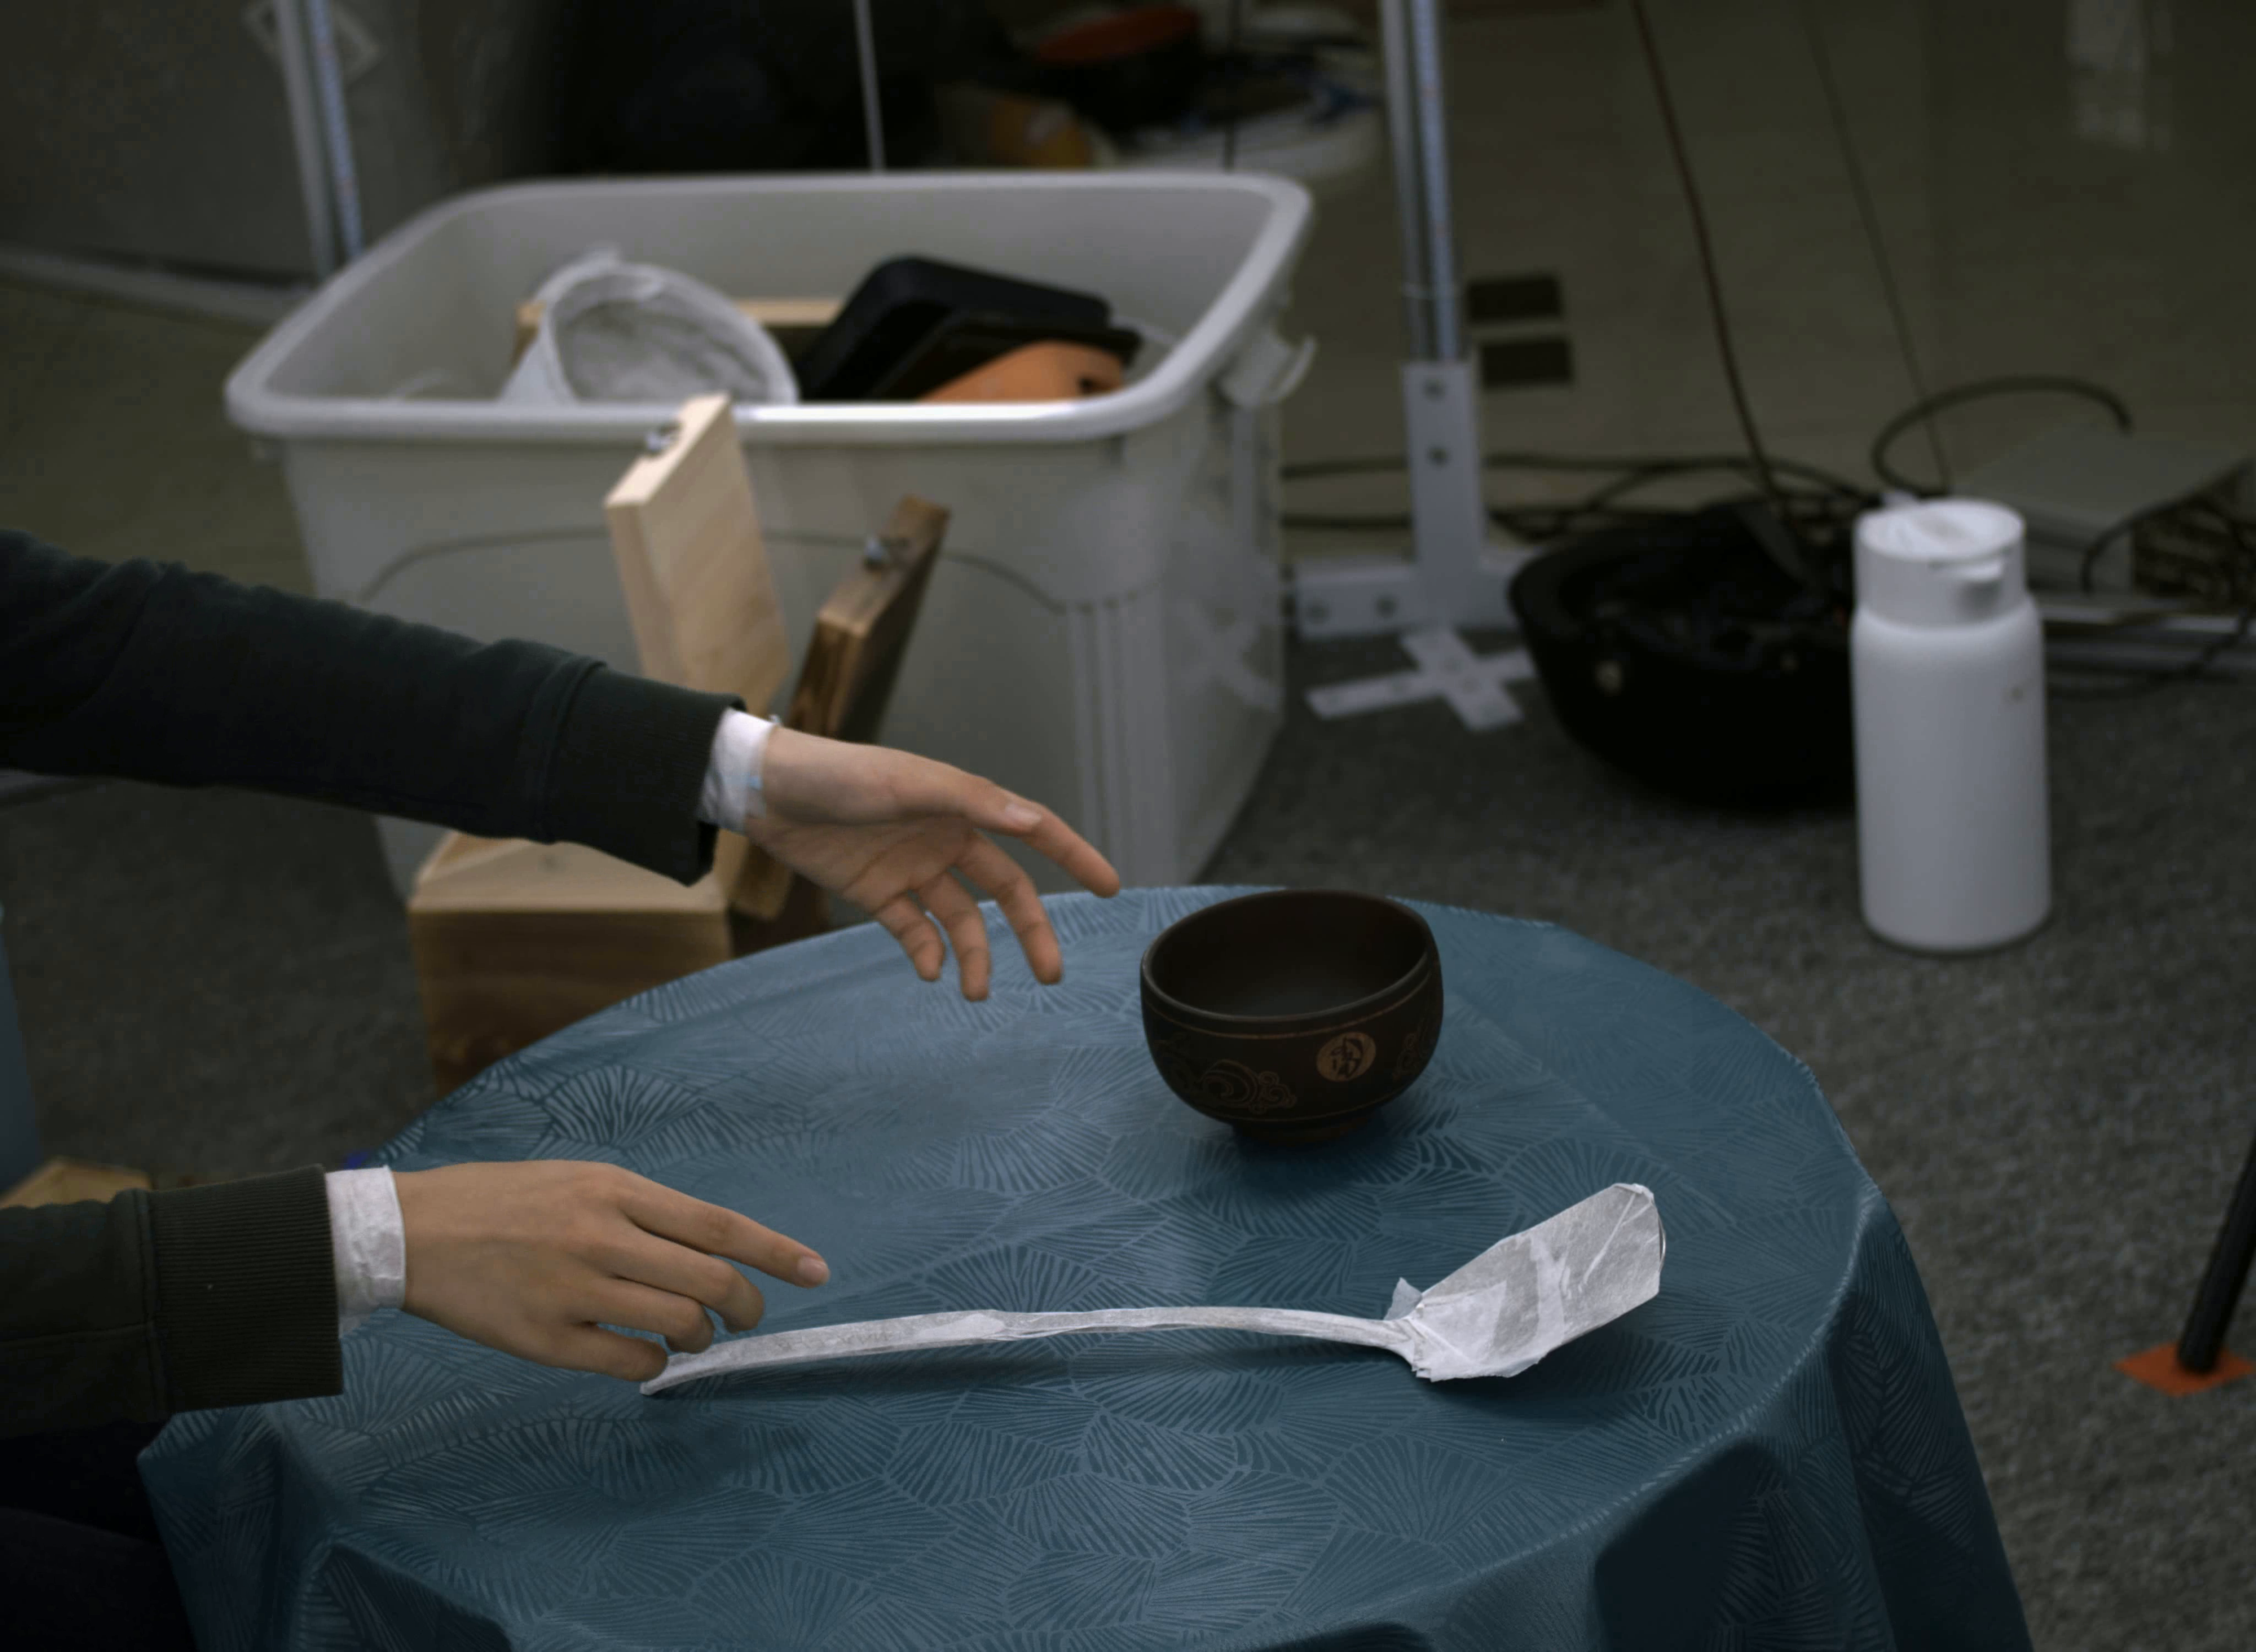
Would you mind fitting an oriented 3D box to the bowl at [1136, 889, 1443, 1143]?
[{"bbox_3d":[0.064,0.079,2.181,0.118,0.071,0.116,-6,23,3],"label":"bowl"}]

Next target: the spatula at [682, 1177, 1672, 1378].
[{"bbox_3d":[0.013,0.172,2.033,0.364,0.045,0.097,-3,27,7],"label":"spatula"}]
